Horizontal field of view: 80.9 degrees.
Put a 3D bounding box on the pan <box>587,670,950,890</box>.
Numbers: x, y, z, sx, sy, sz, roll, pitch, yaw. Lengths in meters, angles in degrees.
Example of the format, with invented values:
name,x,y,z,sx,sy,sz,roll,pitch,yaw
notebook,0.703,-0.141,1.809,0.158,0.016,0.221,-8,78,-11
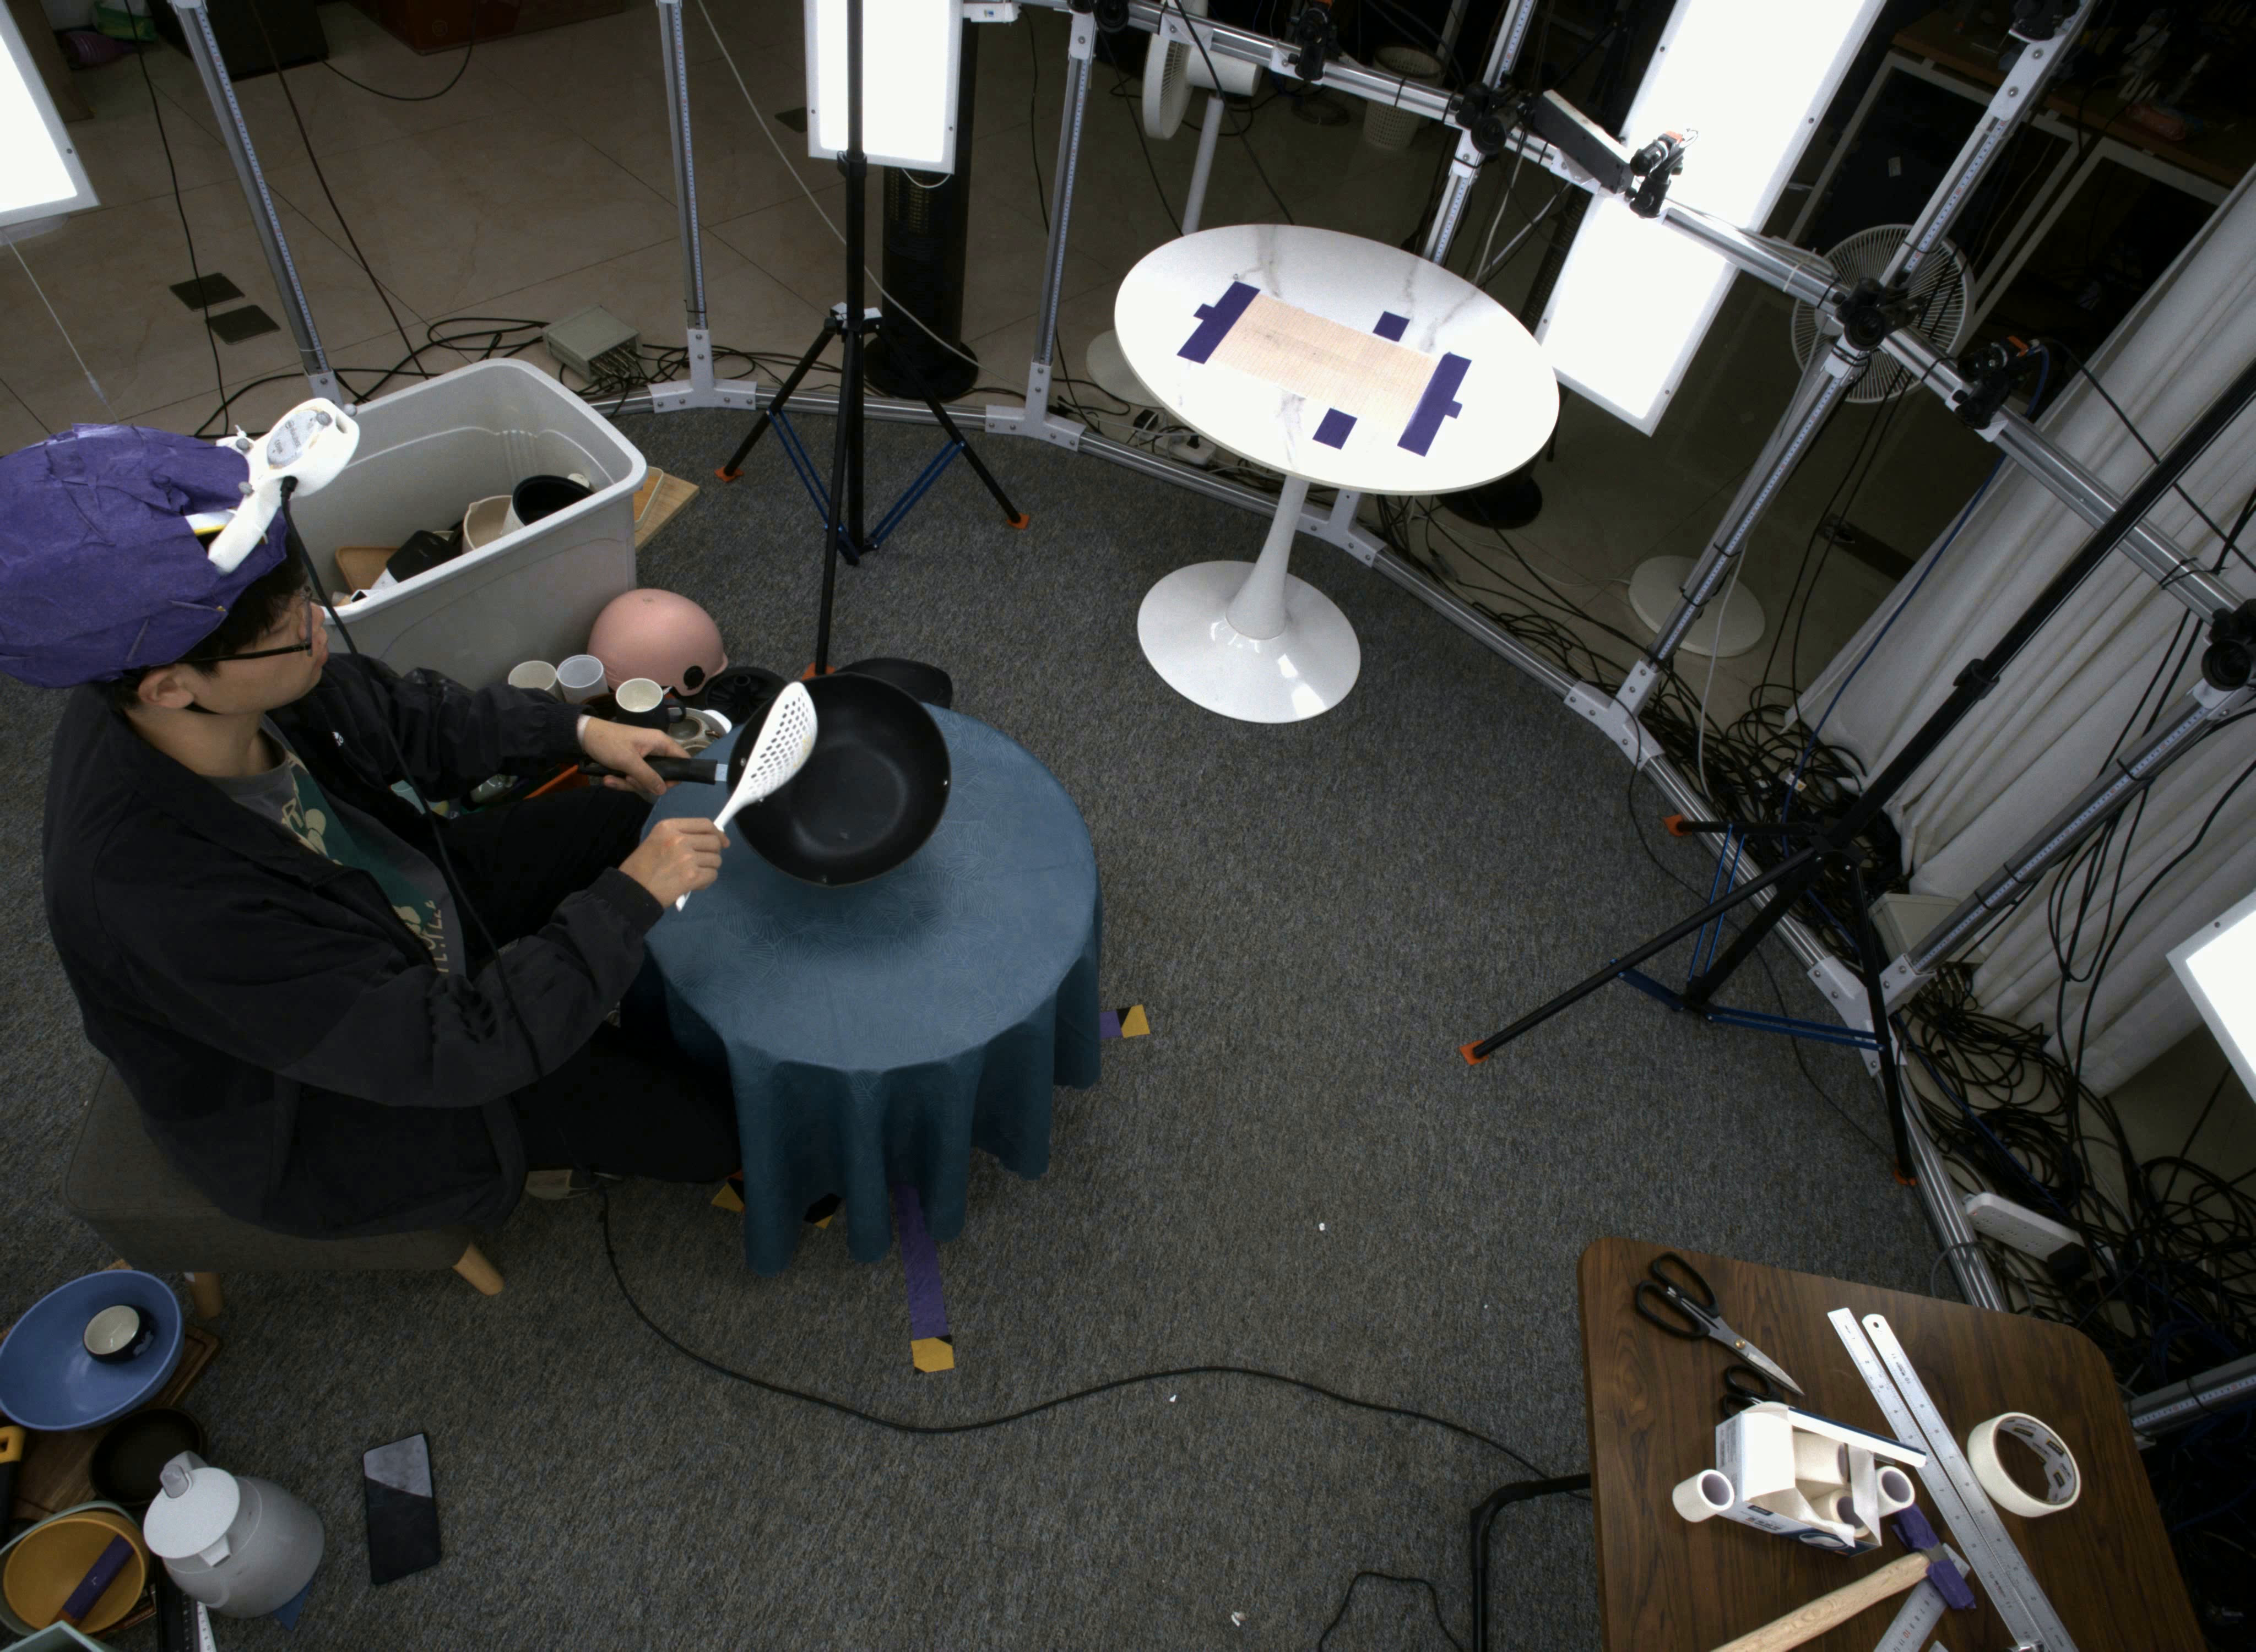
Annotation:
name,x,y,z,sx,sy,sz,roll,pitch,yaw
pan,-0.452,-0.054,1.634,0.460,0.088,0.287,3,73,-5

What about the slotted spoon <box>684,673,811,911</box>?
name,x,y,z,sx,sy,sz,roll,pitch,yaw
slotted spoon,-0.458,-0.037,1.549,0.049,0.140,0.345,20,52,7
